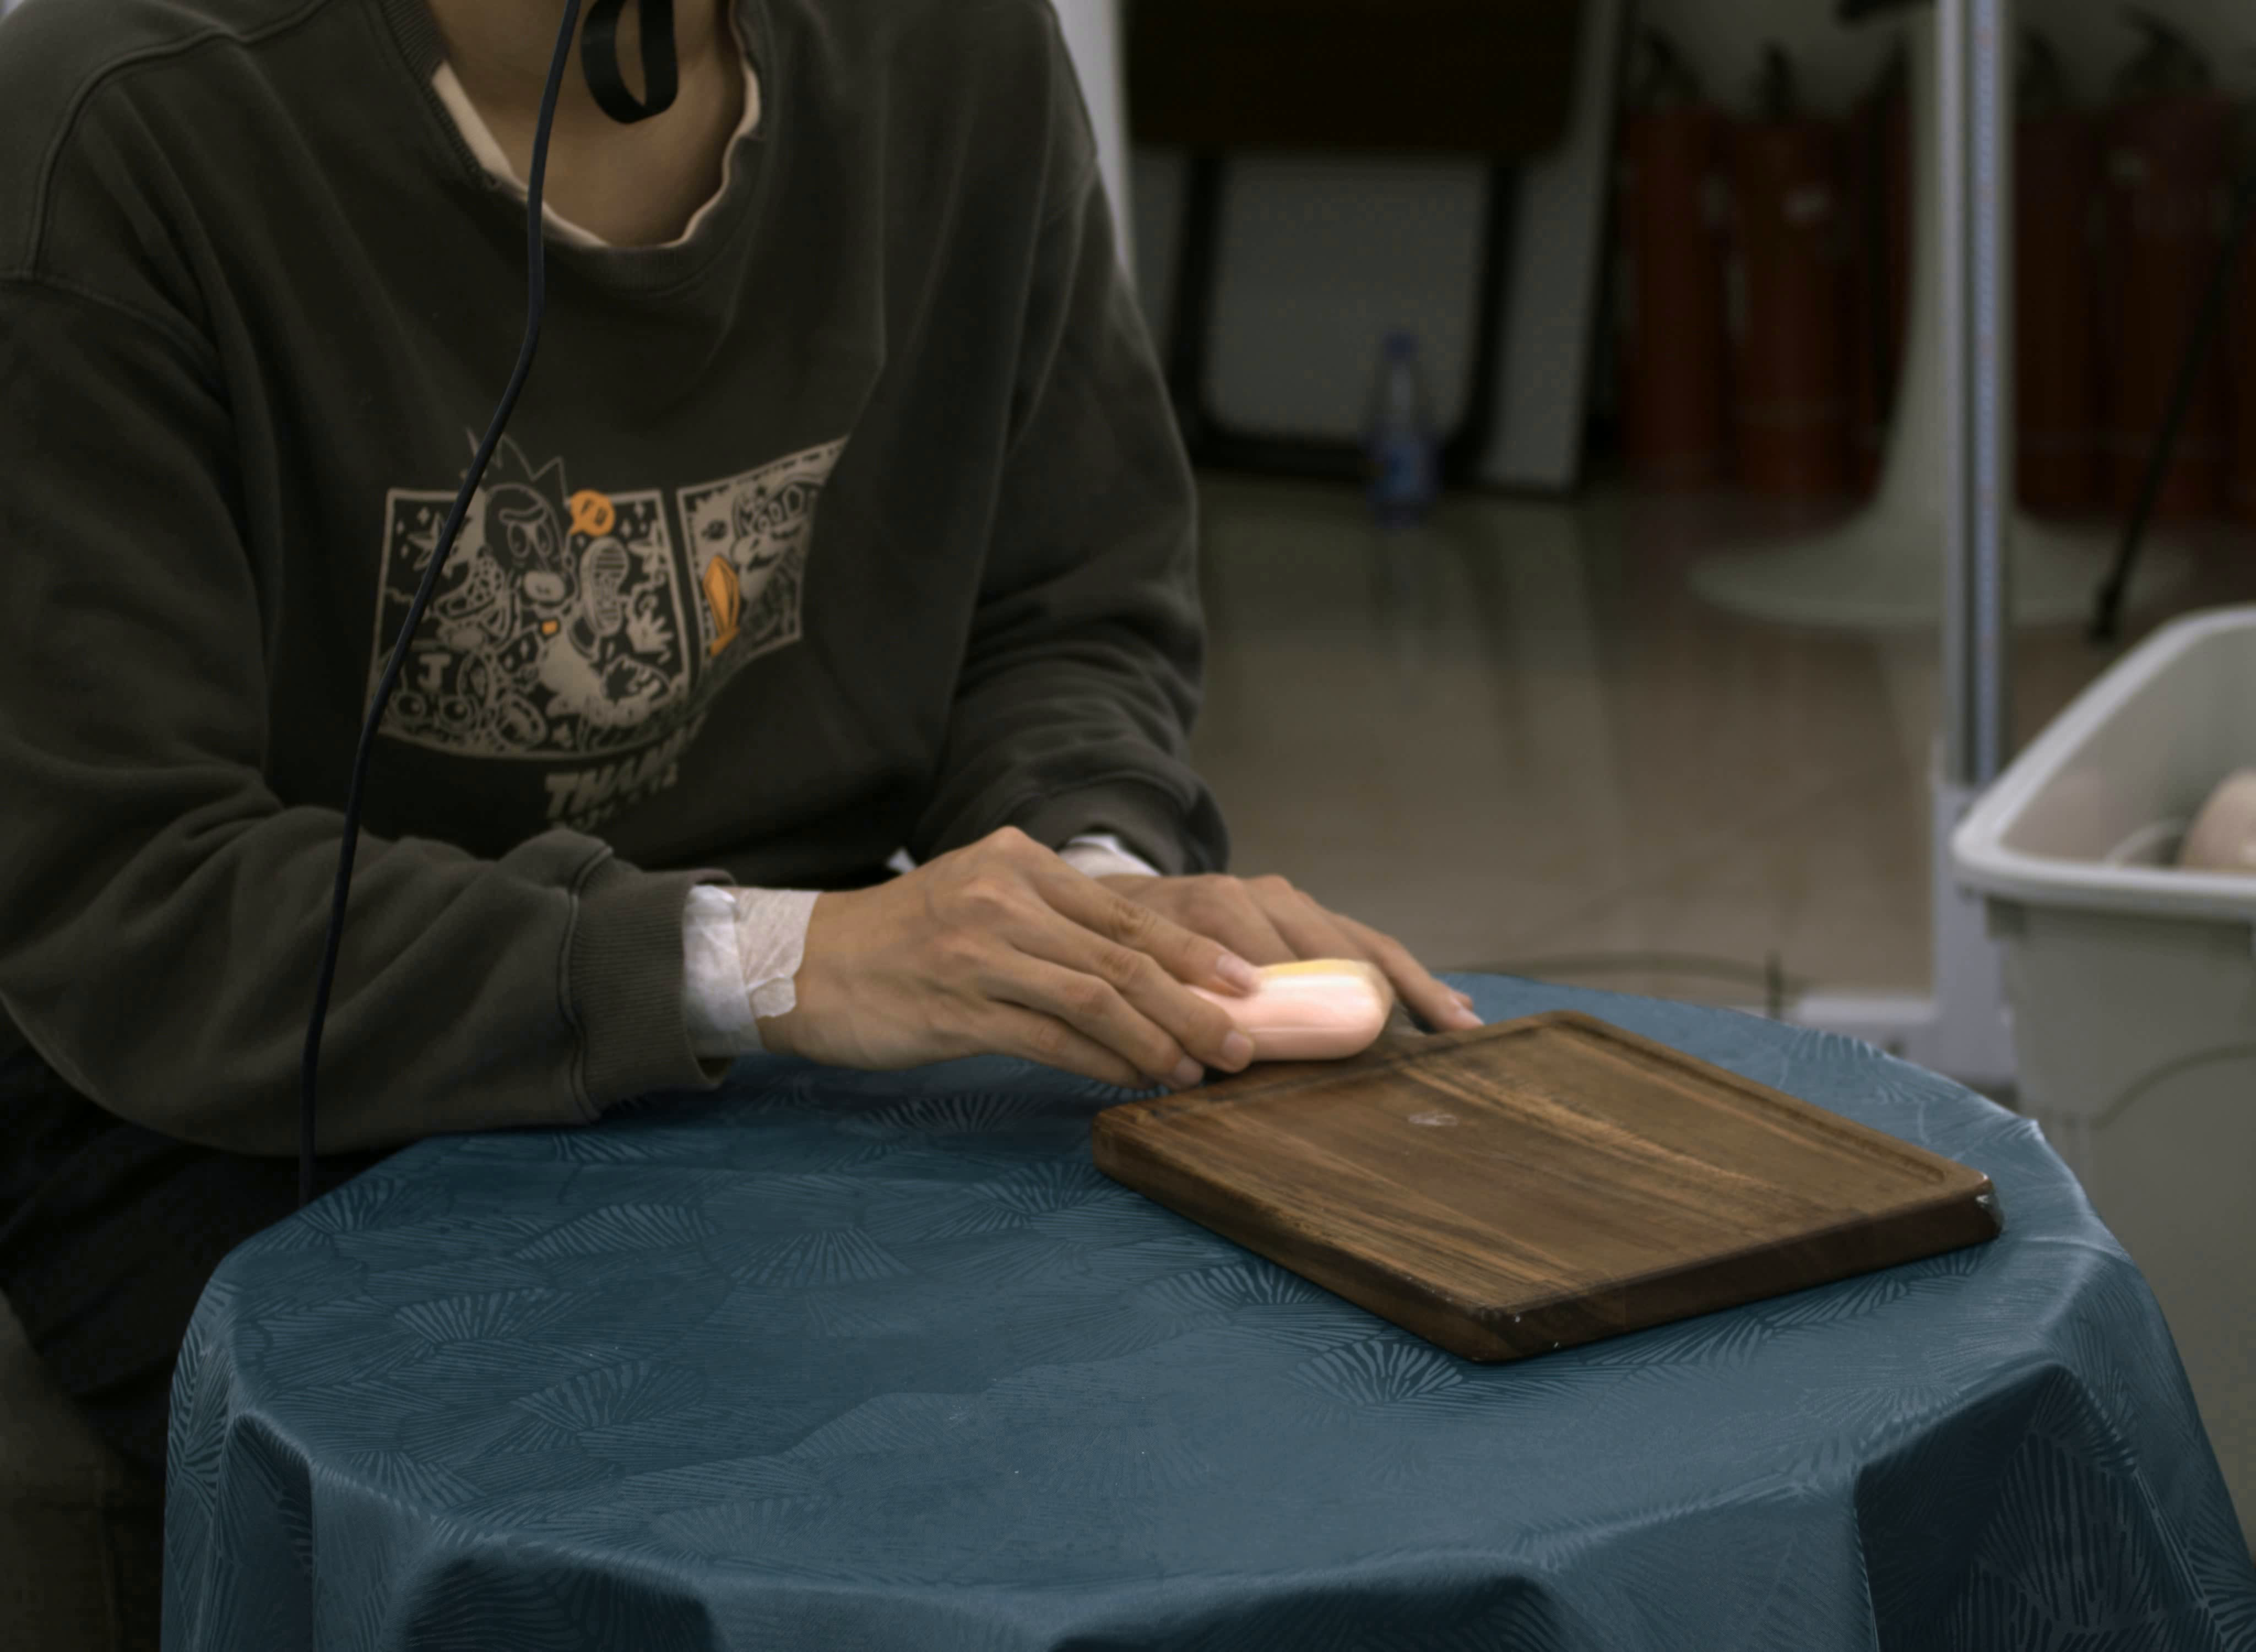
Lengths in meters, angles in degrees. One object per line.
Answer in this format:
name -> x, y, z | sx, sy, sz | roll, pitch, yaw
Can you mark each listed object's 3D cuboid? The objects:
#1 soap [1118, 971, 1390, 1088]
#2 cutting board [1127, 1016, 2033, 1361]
soap -> 0.043, 0.070, 1.841 | 0.093, 0.031, 0.050 | -6, 13, 2
cutting board -> 0.118, 0.103, 1.774 | 0.197, 0.023, 0.356 | -11, 15, -25
